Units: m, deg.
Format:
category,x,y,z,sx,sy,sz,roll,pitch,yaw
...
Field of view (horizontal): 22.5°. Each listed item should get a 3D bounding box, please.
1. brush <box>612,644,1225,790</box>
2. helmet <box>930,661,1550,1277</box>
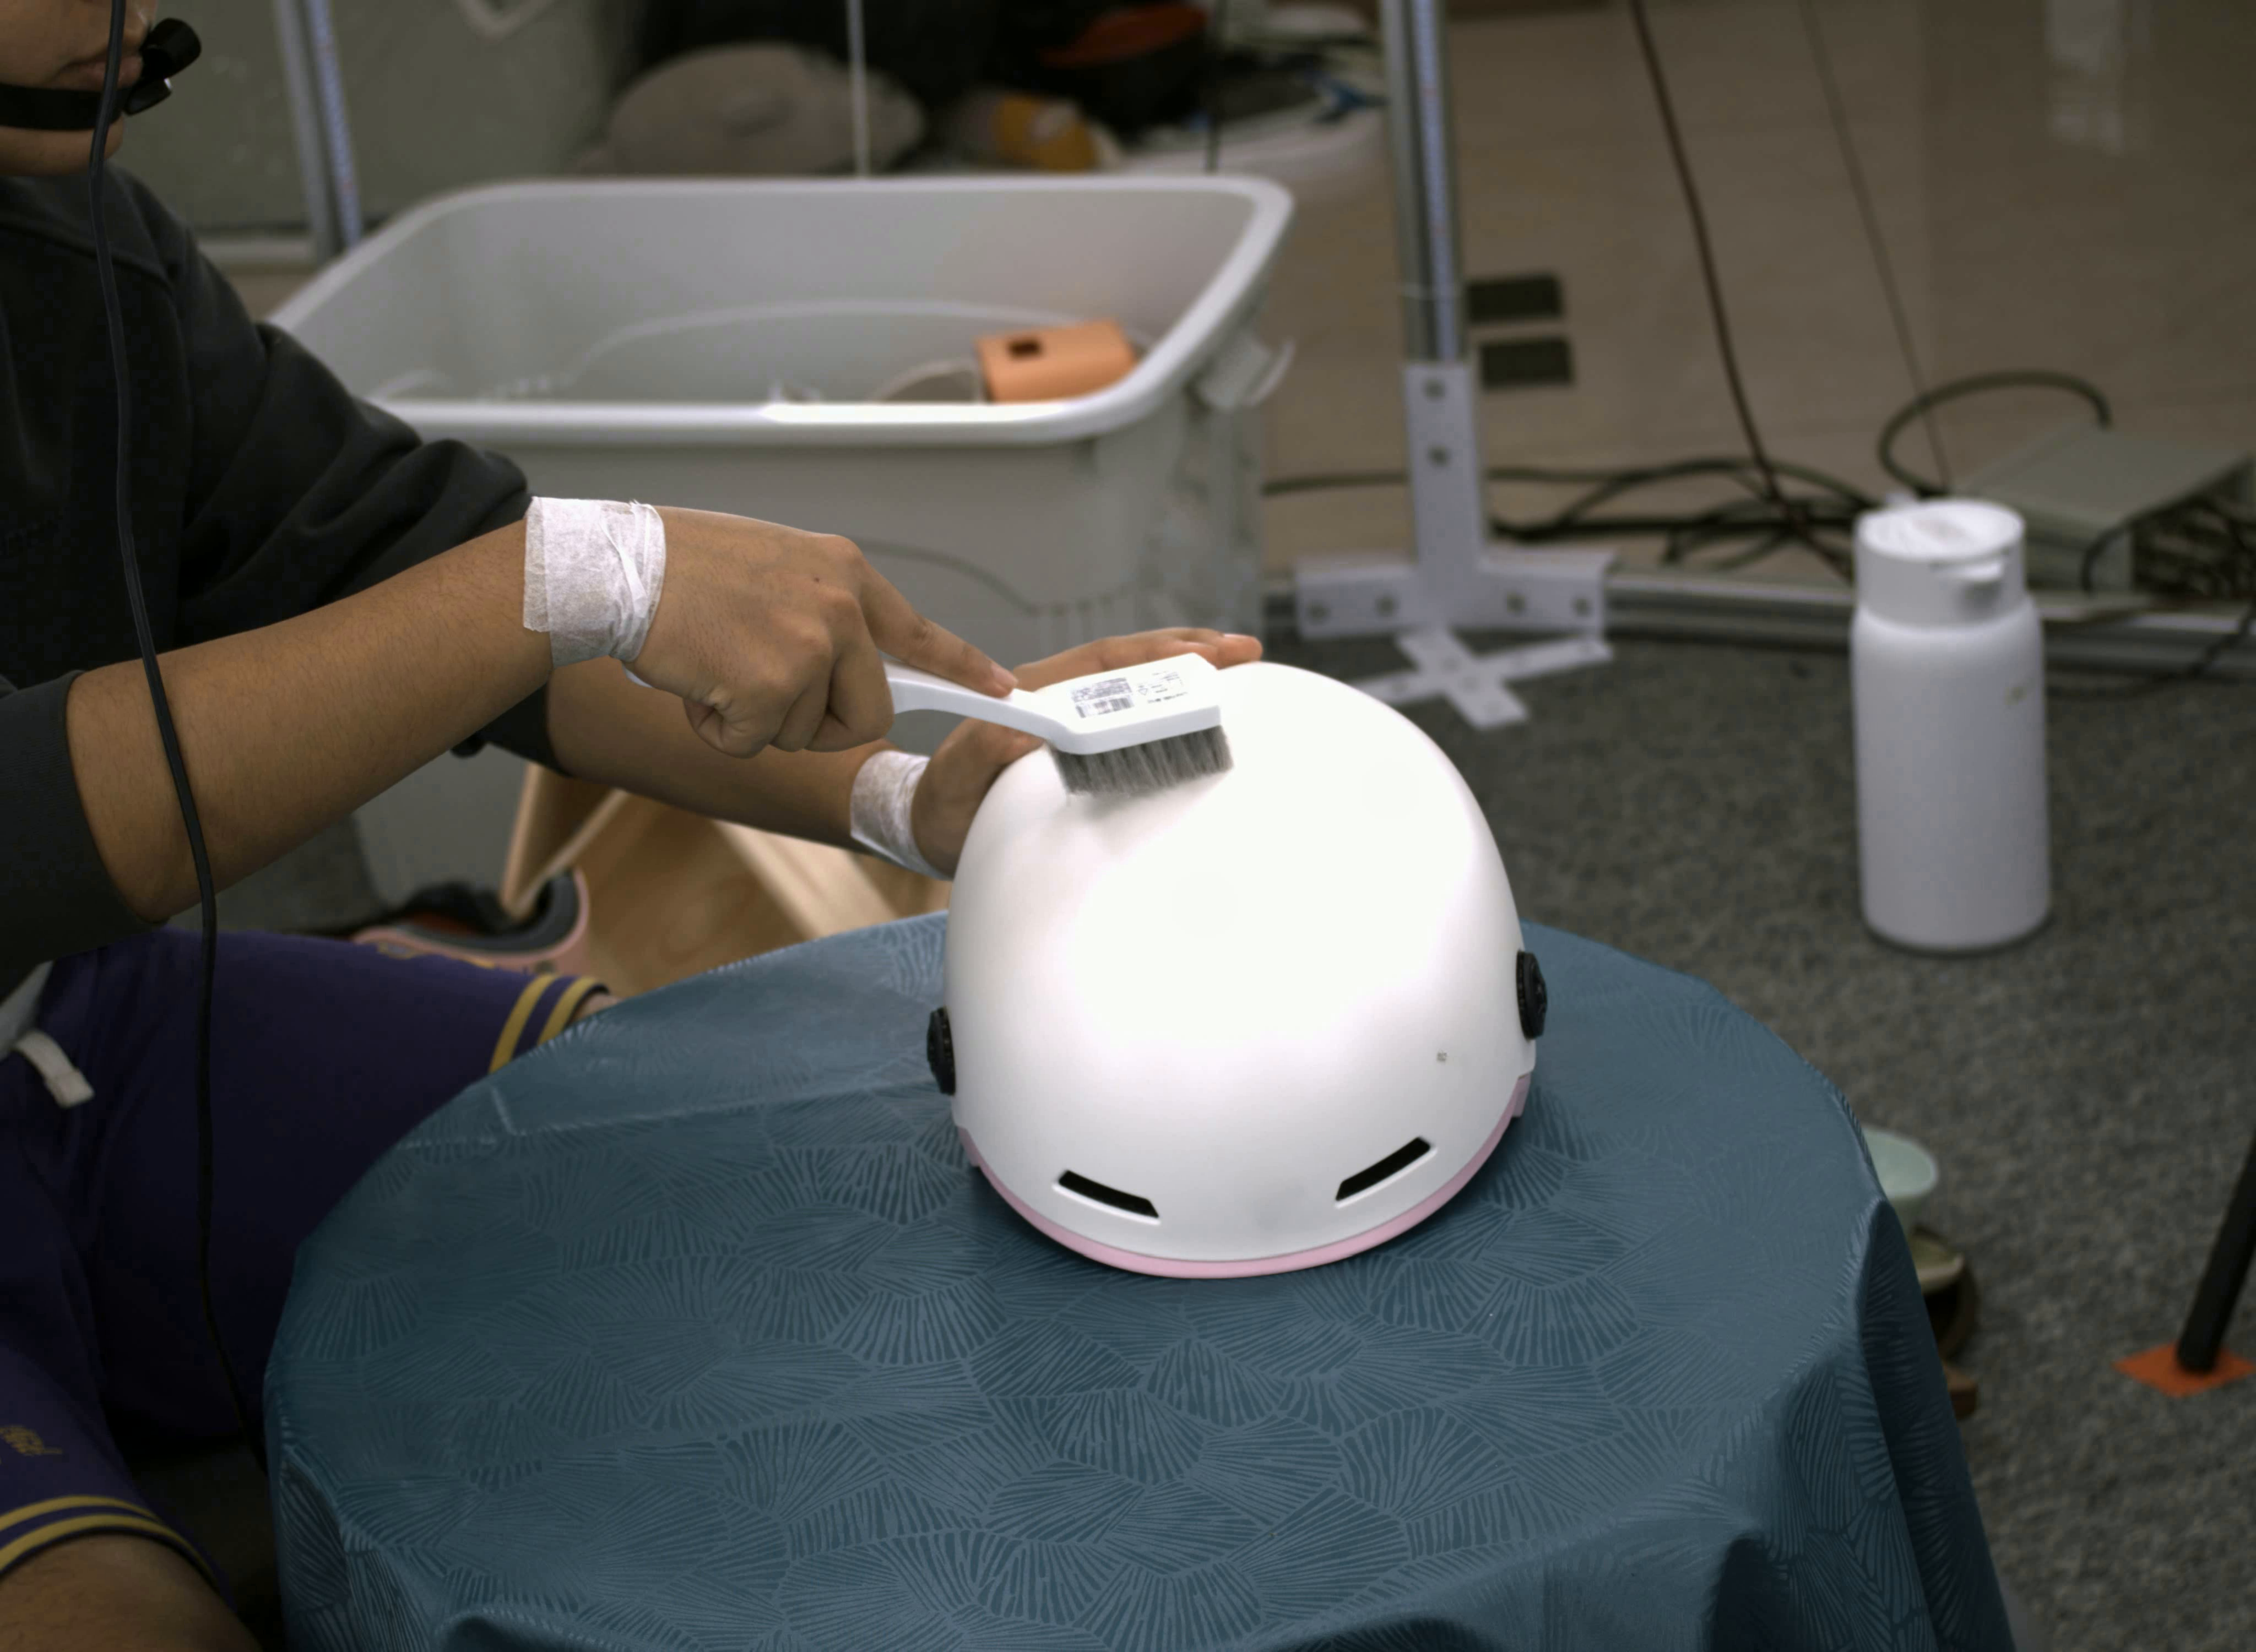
category,x,y,z,sx,sy,sz,roll,pitch,yaw
brush,-0.076,-0.040,2.056,0.243,0.051,0.034,0,37,-25
helmet,0.040,0.036,2.161,0.237,0.170,0.264,-4,26,4
